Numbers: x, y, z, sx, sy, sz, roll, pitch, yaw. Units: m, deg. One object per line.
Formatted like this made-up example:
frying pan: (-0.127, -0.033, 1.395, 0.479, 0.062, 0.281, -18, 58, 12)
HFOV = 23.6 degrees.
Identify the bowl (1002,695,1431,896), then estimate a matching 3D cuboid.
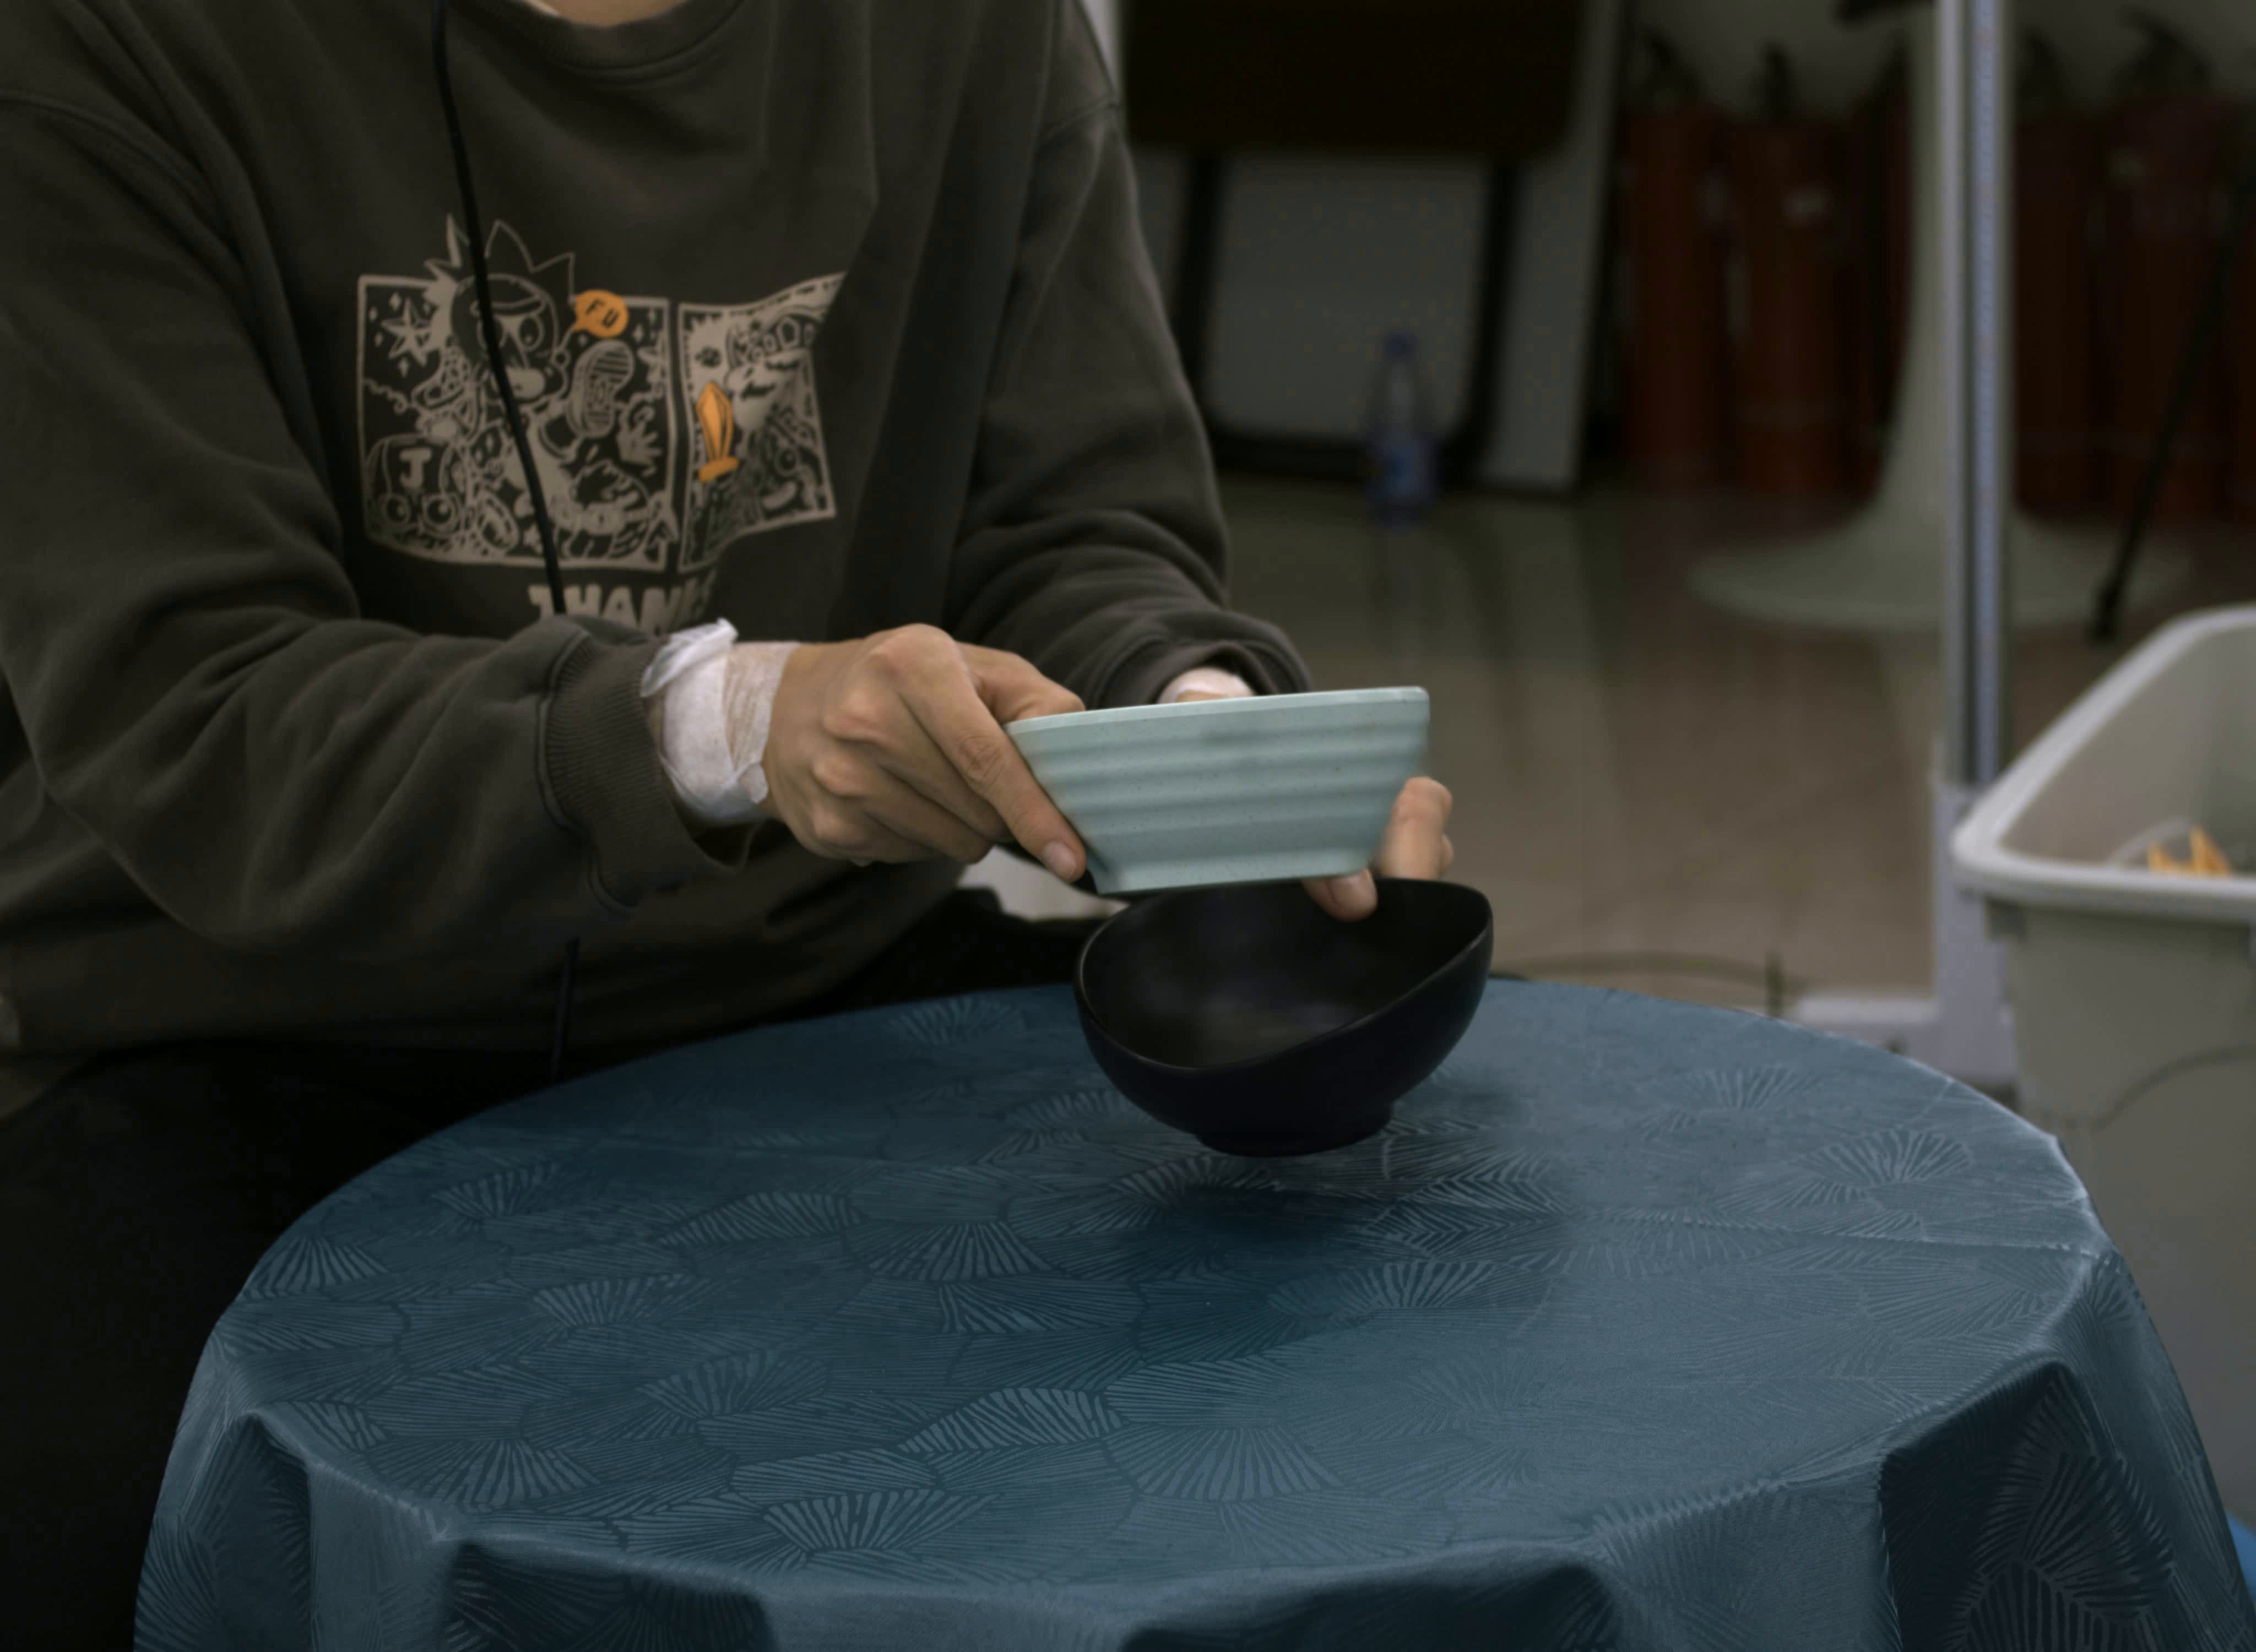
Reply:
bowl: (0.029, -0.008, 1.732, 0.149, 0.059, 0.151, -1, -3, -1)

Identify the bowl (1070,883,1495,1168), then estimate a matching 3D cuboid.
bowl: (0.053, 0.069, 1.757, 0.137, 0.067, 0.169, -1, 17, 21)
